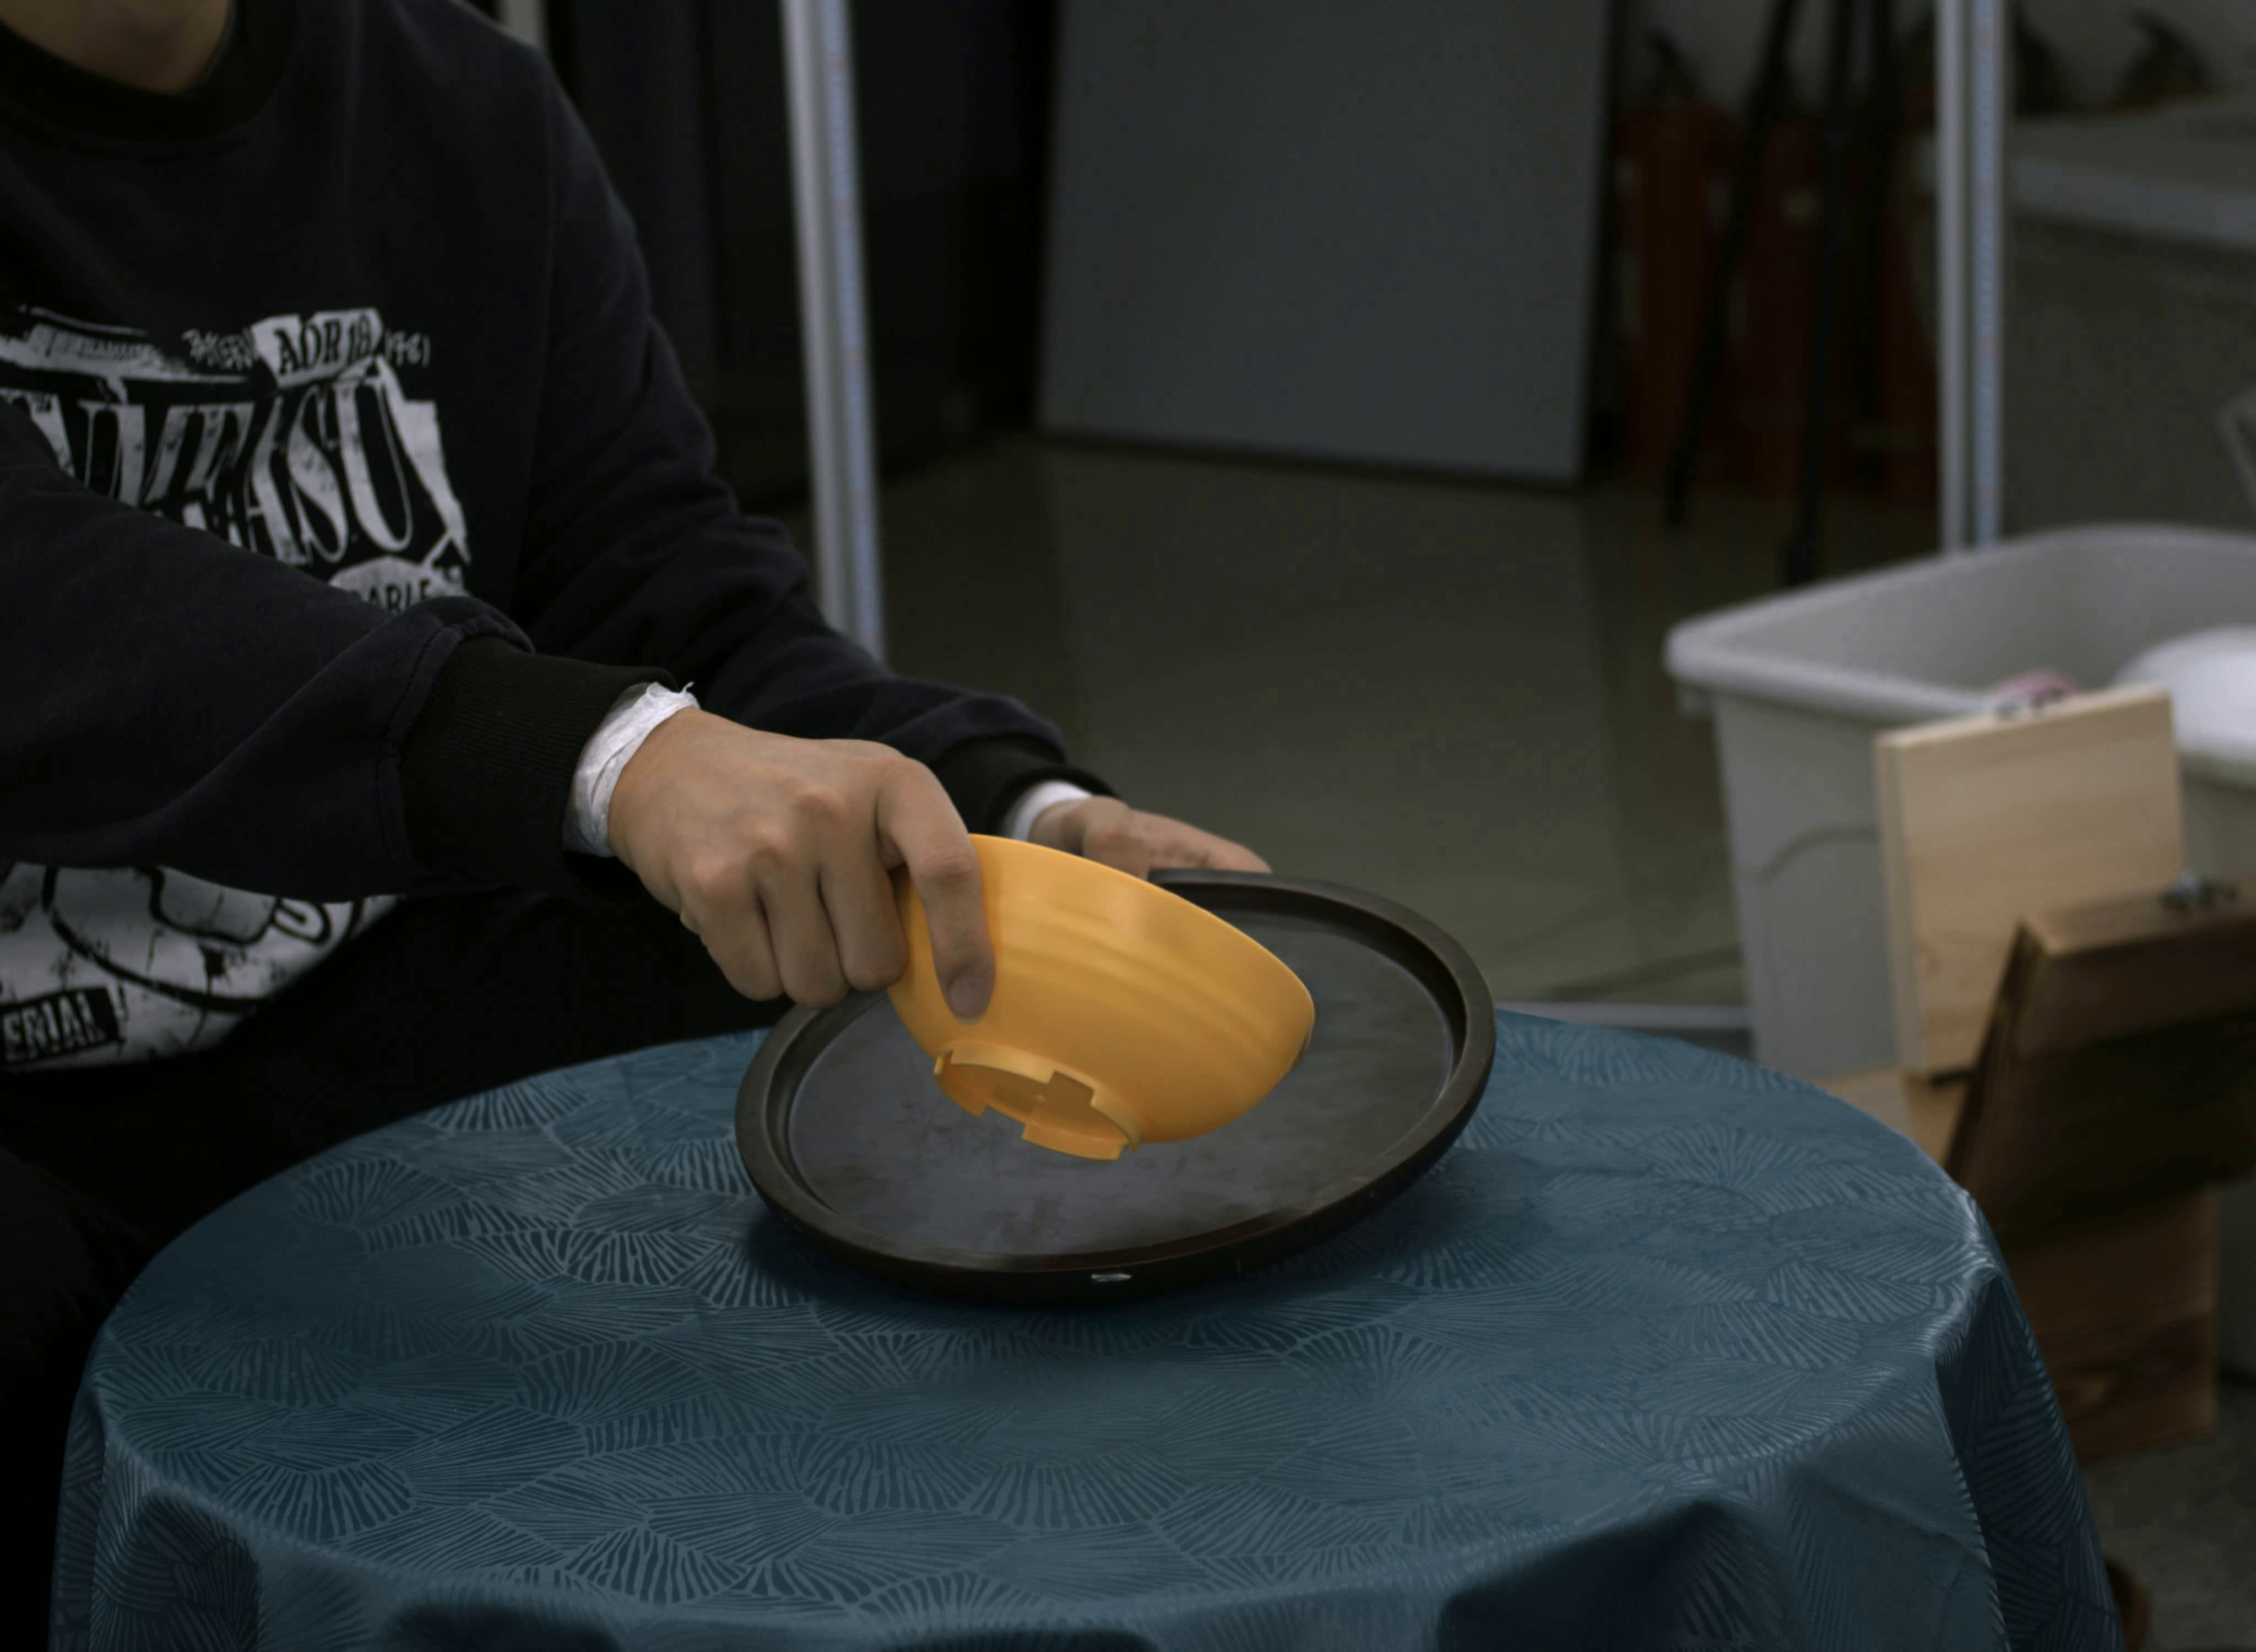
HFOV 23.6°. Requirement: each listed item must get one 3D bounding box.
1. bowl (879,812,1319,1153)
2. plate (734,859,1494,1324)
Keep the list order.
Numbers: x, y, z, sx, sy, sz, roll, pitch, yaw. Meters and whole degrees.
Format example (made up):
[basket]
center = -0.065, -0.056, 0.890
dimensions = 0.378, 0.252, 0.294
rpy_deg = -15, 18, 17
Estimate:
[bowl]
center = -0.018, 0.058, 1.629
dimensions = 0.144, 0.060, 0.145
rpy_deg = 21, -20, 7
[plate]
center = -0.003, 0.085, 1.757
dimensions = 0.252, 0.029, 0.256
rpy_deg = -10, 29, 5
